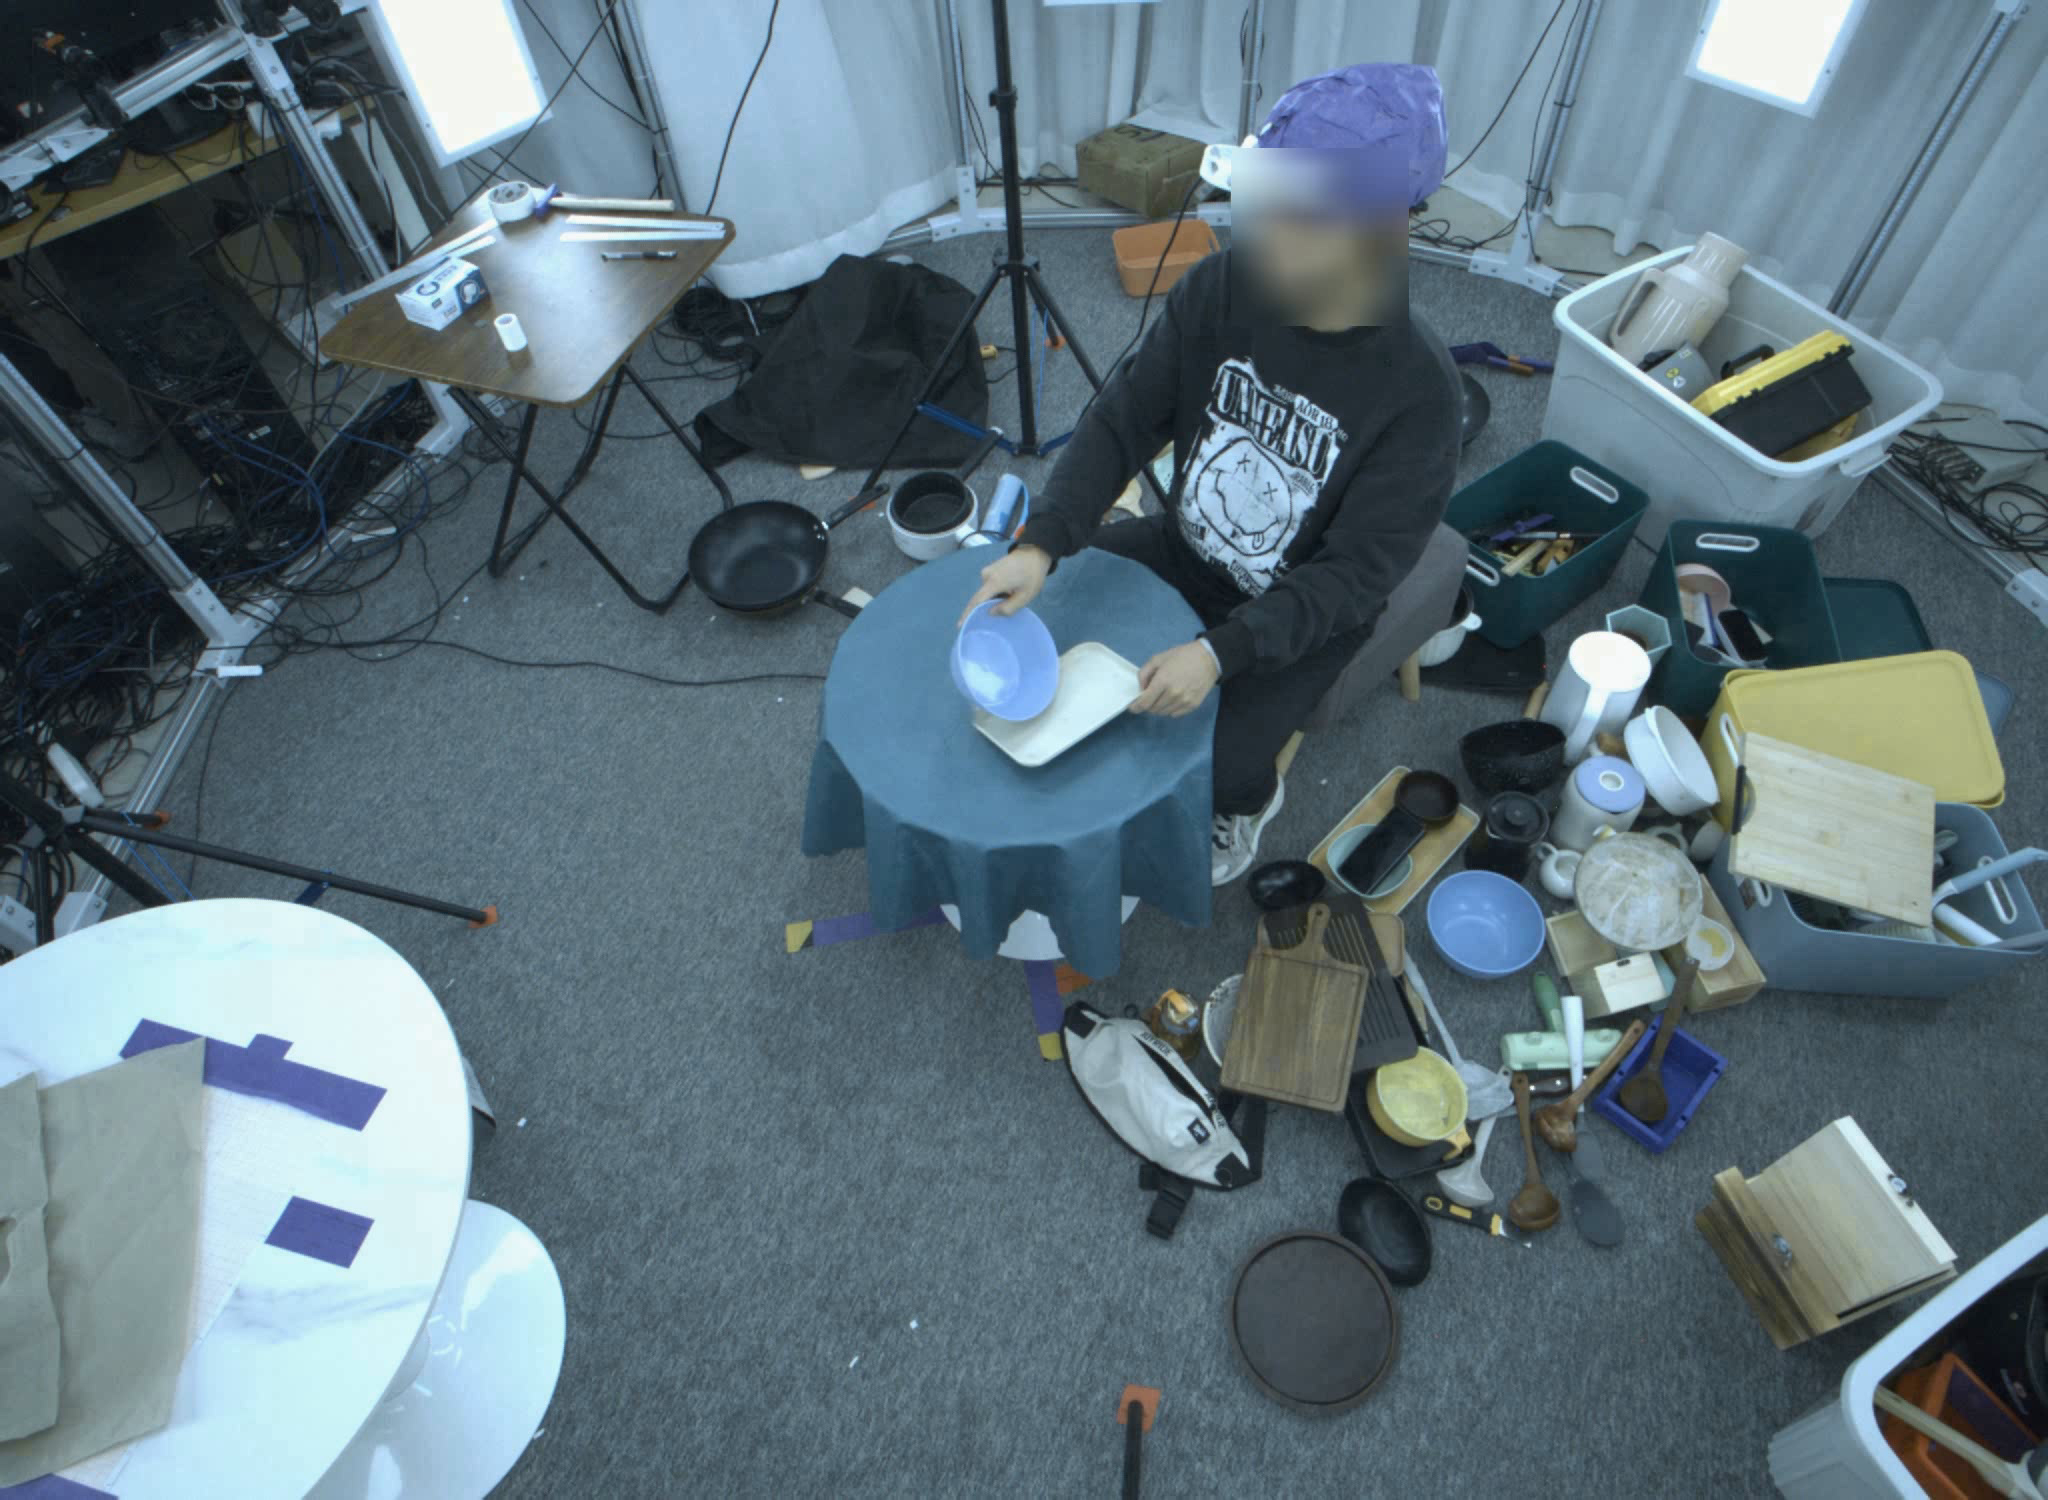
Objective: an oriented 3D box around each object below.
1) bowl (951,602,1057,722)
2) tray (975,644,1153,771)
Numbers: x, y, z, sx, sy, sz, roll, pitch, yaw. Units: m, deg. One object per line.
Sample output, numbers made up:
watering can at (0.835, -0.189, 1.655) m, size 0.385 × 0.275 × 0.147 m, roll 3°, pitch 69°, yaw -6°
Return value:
bowl at (-0.040, -0.121, 1.772) m, size 0.069 × 0.179 × 0.176 m, roll -12°, pitch 40°, yaw 50°
tray at (0.059, -0.064, 1.806) m, size 0.241 × 0.018 × 0.167 m, roll -33°, pitch 46°, yaw -18°
